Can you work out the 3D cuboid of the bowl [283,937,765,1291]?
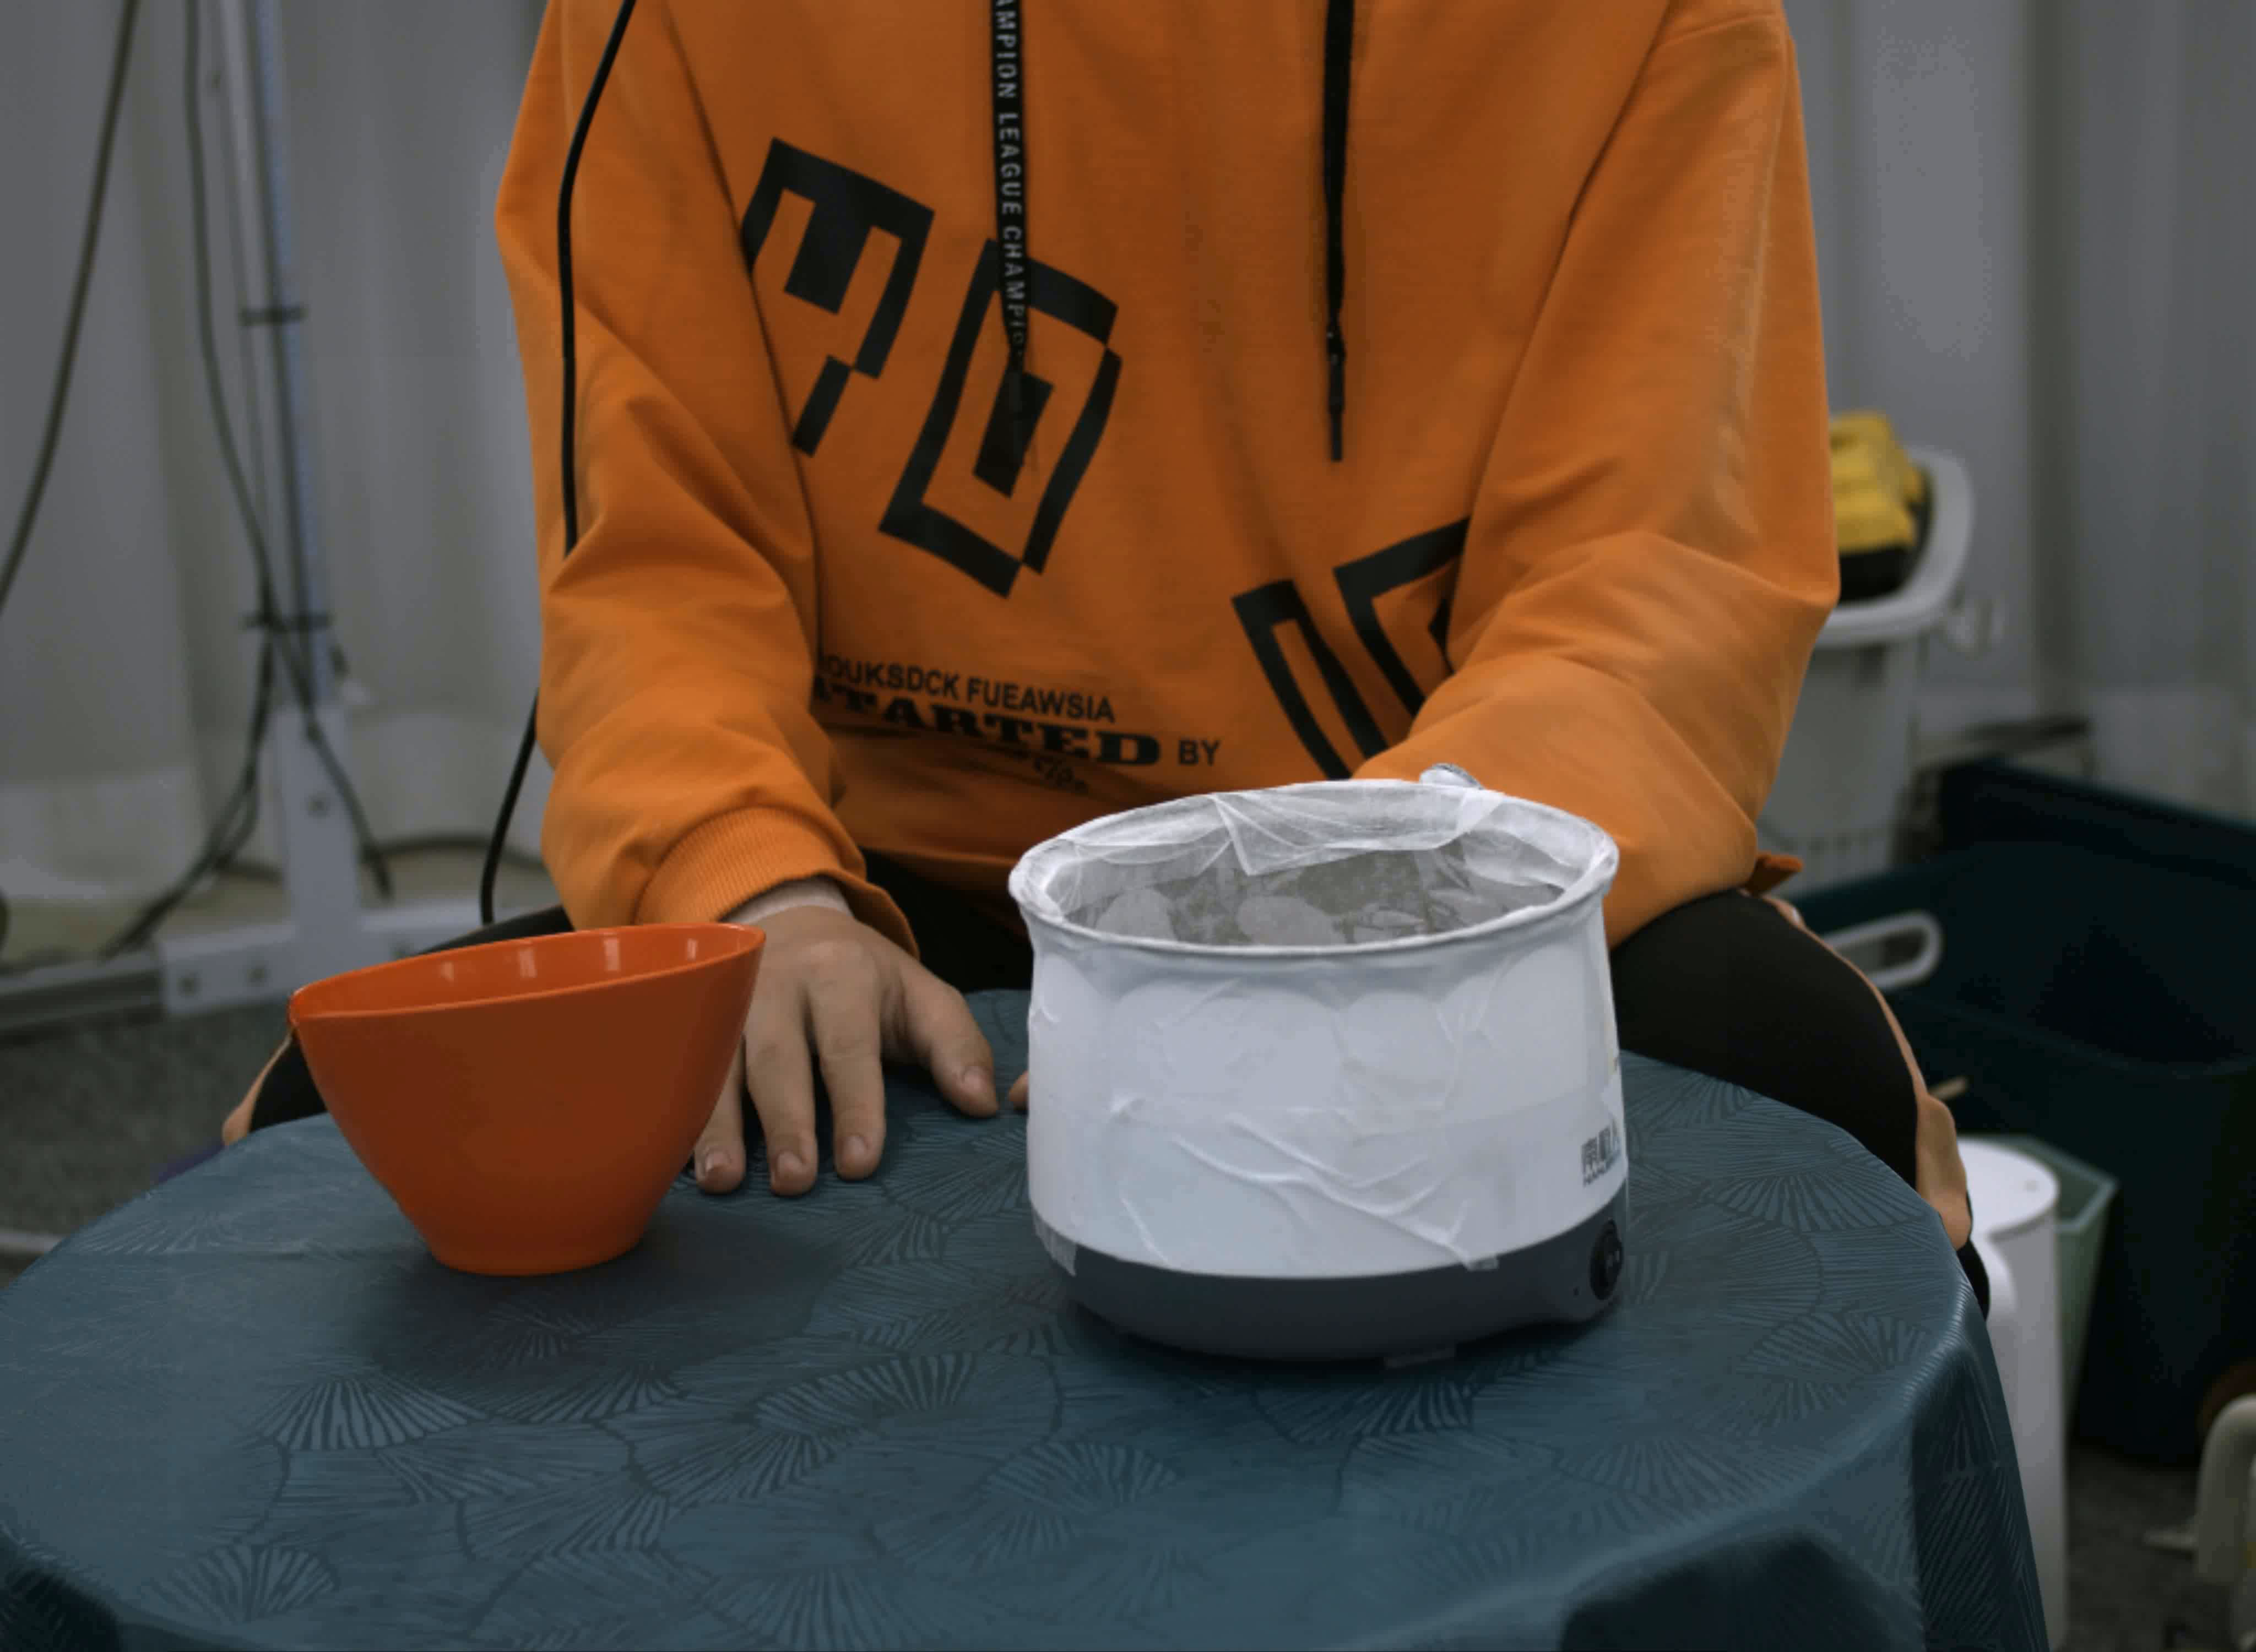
[{"bbox_3d":[-0.182,0.086,1.676,0.147,0.104,0.149,-3,13,0],"label":"bowl"}]

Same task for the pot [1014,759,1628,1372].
[{"bbox_3d":[0.069,0.064,1.625,0.179,0.136,0.234,4,17,24],"label":"pot"}]
